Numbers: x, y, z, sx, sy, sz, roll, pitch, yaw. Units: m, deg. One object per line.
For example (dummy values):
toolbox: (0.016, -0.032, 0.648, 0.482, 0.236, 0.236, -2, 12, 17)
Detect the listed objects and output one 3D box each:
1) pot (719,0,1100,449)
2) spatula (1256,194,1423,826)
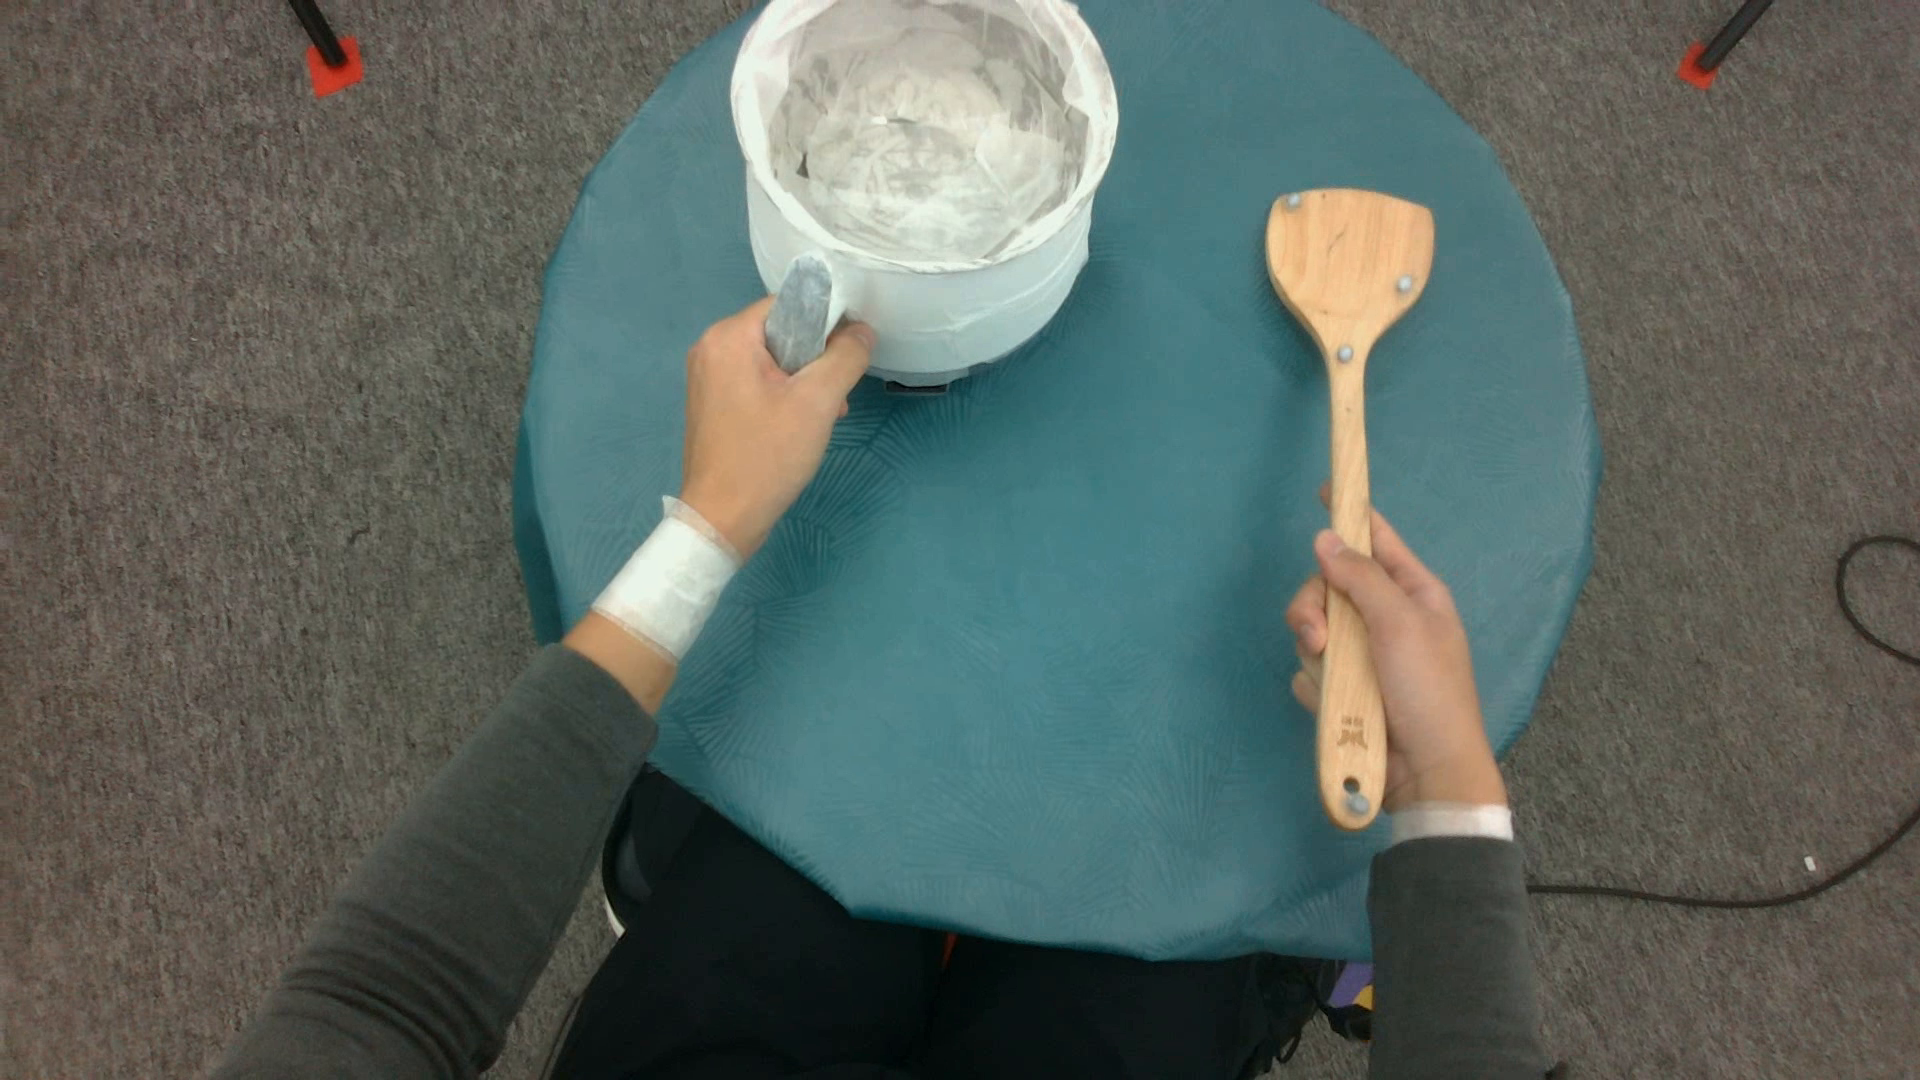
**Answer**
pot: (-0.040, -0.157, 0.687, 0.179, 0.136, 0.234, 28, 70, 6)
spatula: (0.198, -0.038, 0.716, 0.096, 0.018, 0.392, 7, 57, 4)
